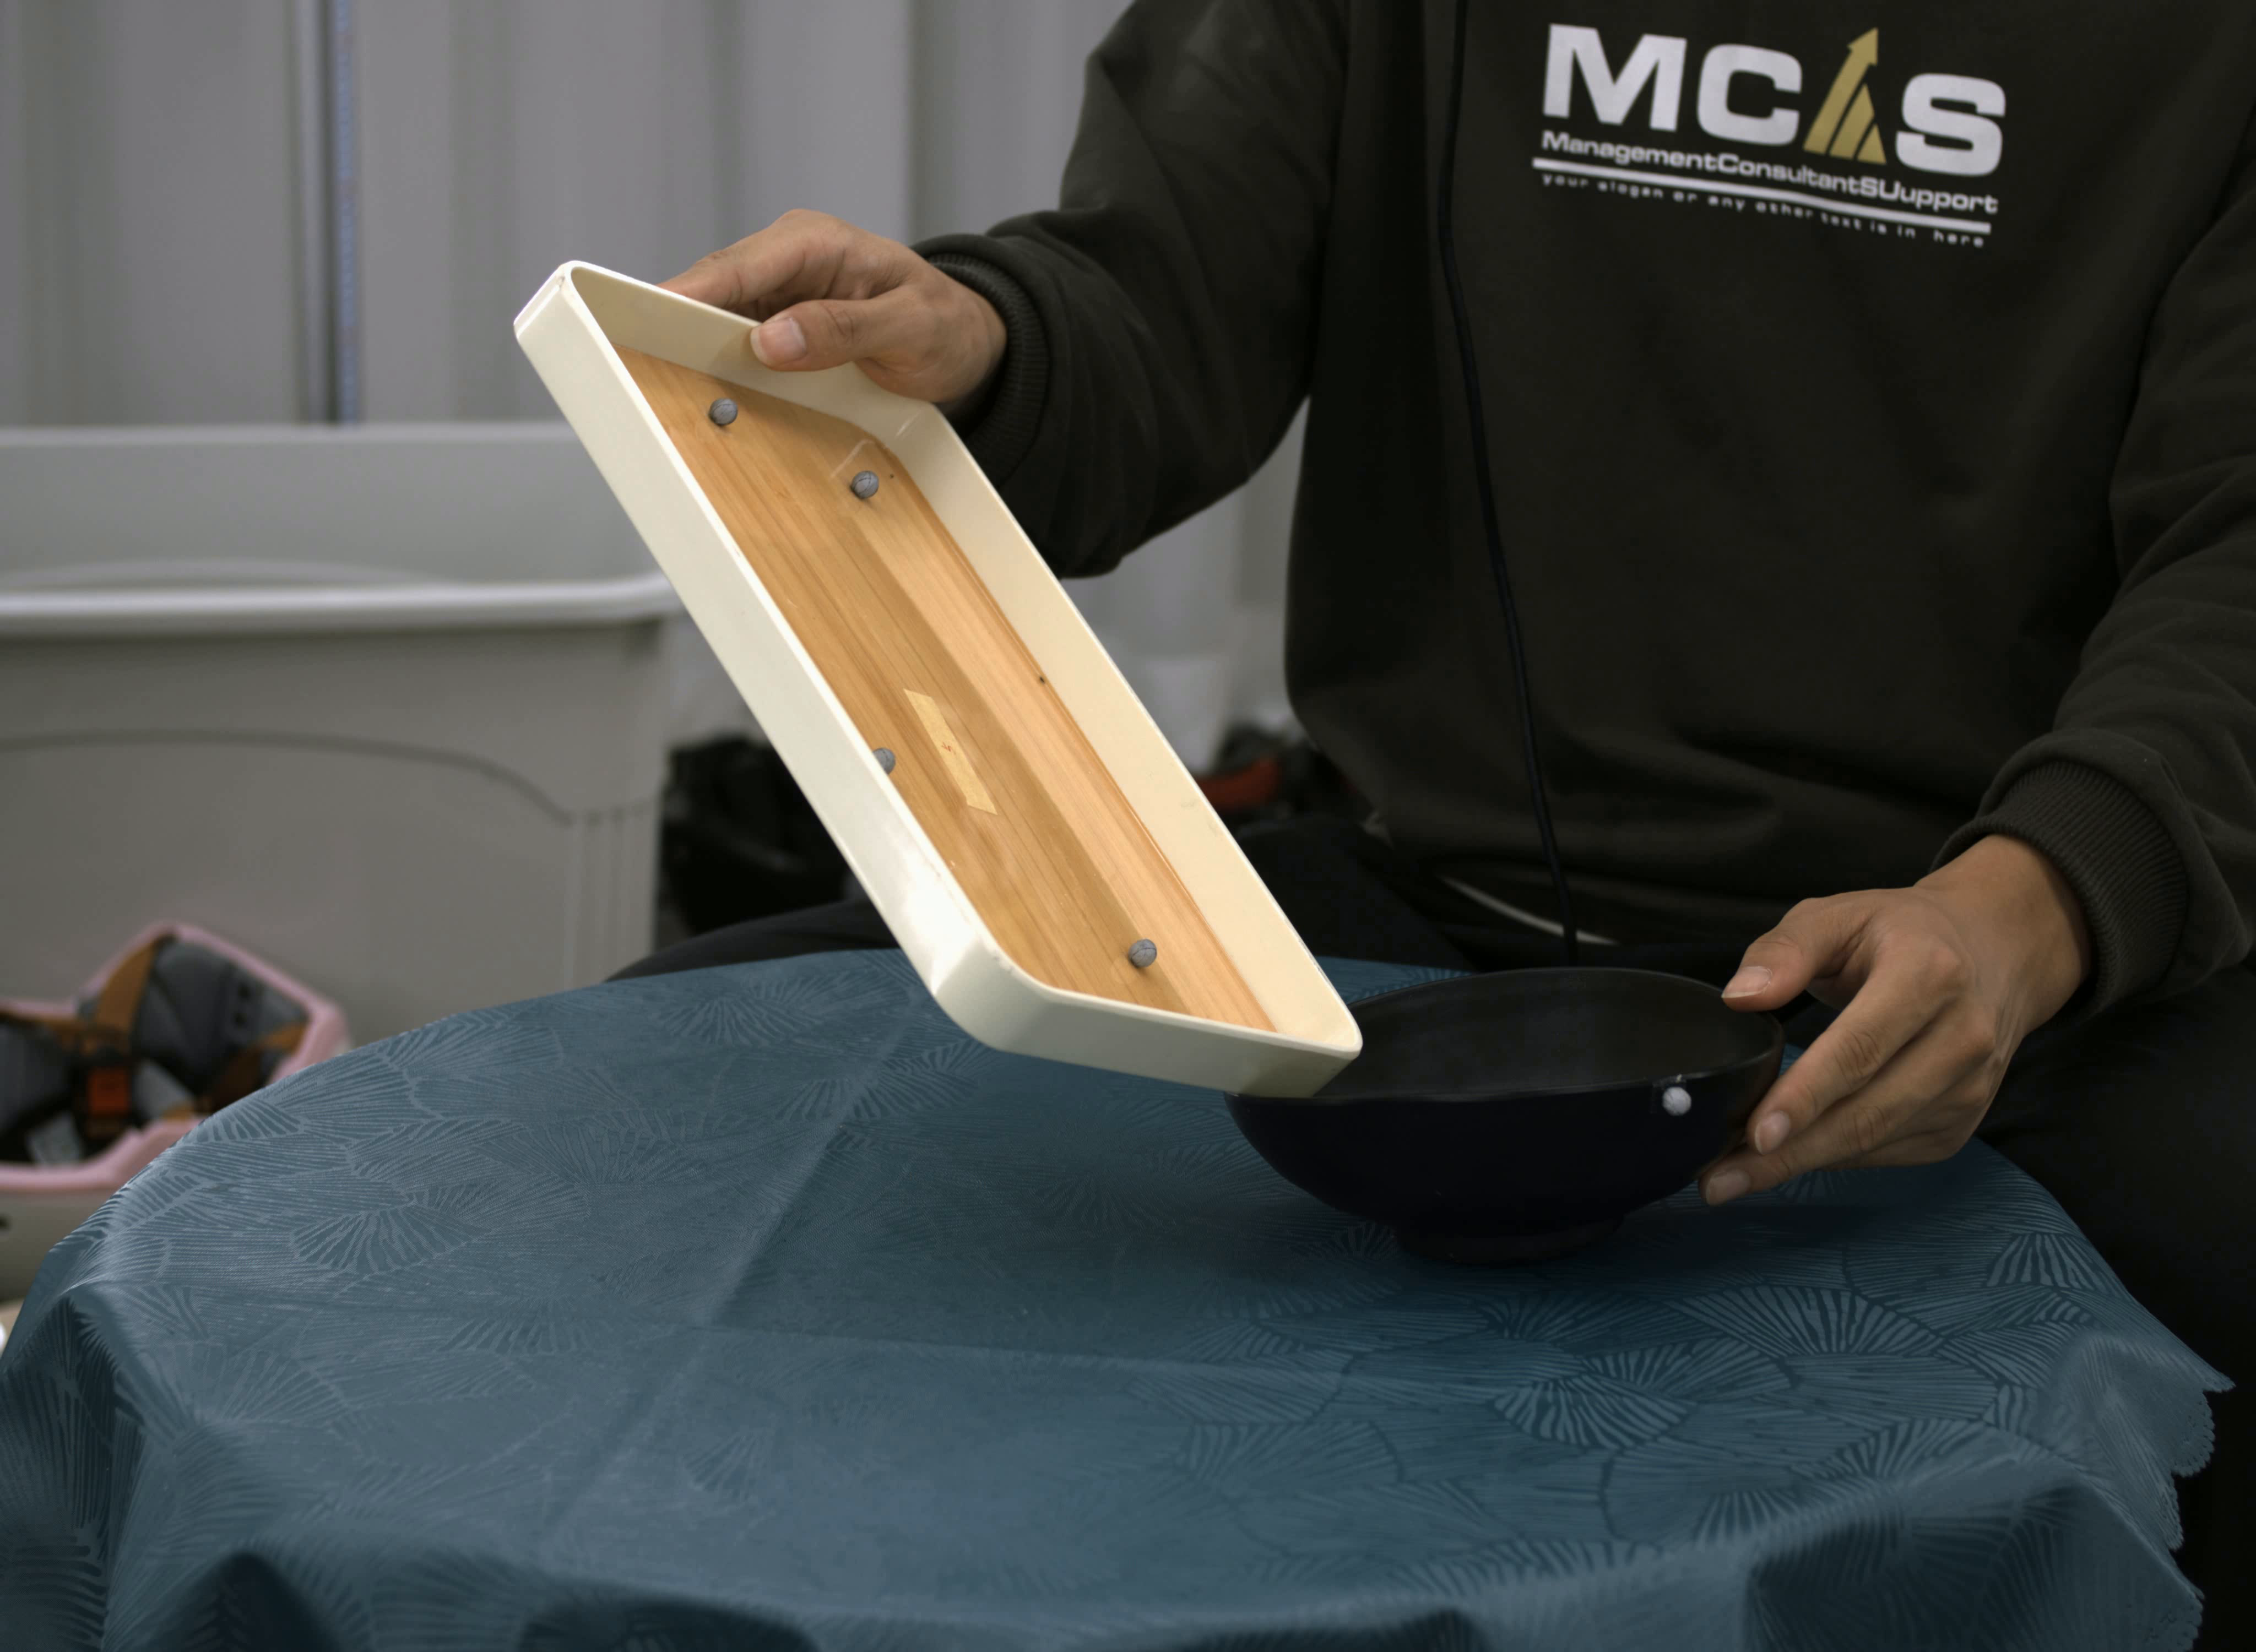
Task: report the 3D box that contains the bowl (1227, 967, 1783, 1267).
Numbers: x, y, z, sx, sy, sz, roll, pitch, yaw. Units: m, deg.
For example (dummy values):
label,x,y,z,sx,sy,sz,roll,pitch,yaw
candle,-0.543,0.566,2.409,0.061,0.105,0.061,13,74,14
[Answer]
label,x,y,z,sx,sy,sz,roll,pitch,yaw
bowl,0.114,0.092,1.584,0.169,0.067,0.137,-4,12,11

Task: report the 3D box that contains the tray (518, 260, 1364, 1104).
label,x,y,z,sx,sy,sz,roll,pitch,yaw
tray,-0.057,-0.043,1.595,0.193,0.027,0.297,14,37,-55
